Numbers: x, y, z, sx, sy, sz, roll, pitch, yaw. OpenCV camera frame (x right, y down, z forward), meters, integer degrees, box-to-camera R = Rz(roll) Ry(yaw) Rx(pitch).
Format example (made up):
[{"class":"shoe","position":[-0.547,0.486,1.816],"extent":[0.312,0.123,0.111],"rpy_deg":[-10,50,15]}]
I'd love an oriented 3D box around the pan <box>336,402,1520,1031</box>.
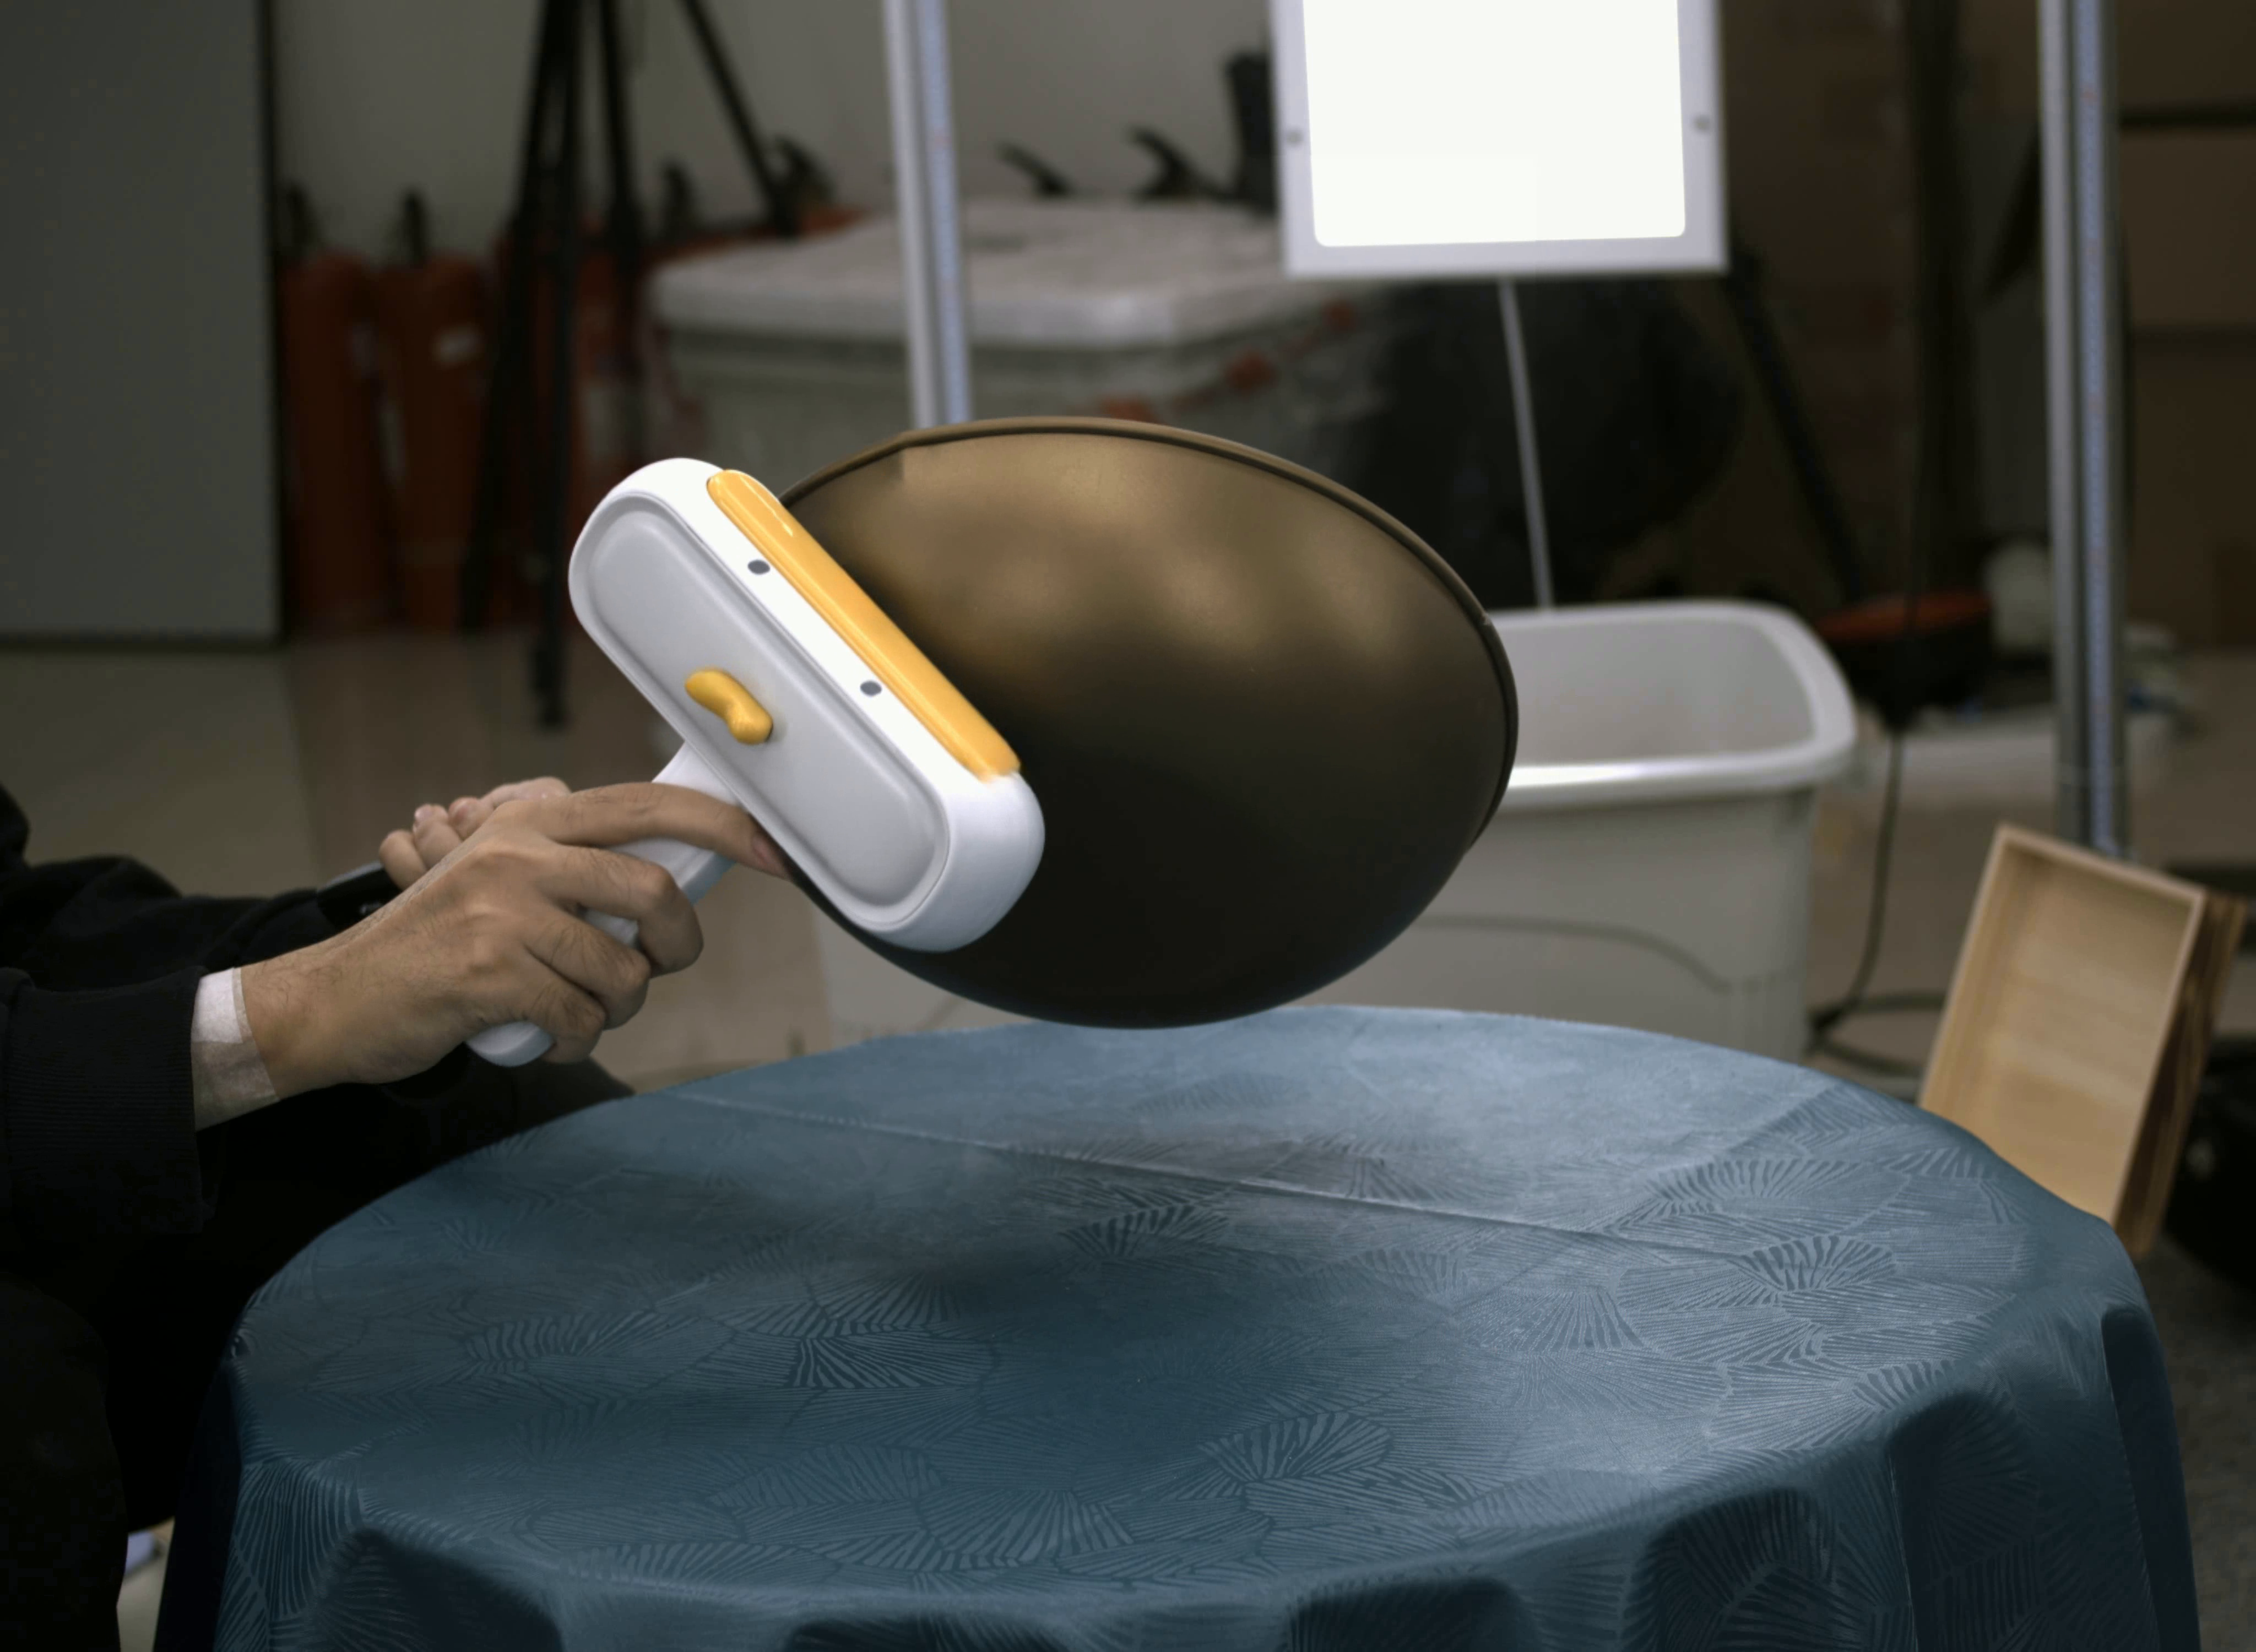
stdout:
[{"class":"pan","position":[-0.091,0.005,1.874],"extent":[0.472,0.285,0.086],"rpy_deg":[-15,45,28]}]

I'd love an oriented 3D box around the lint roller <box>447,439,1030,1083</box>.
[{"class":"lint roller","position":[-0.146,0.000,1.759],"extent":[0.194,0.194,0.073],"rpy_deg":[41,17,20]}]
